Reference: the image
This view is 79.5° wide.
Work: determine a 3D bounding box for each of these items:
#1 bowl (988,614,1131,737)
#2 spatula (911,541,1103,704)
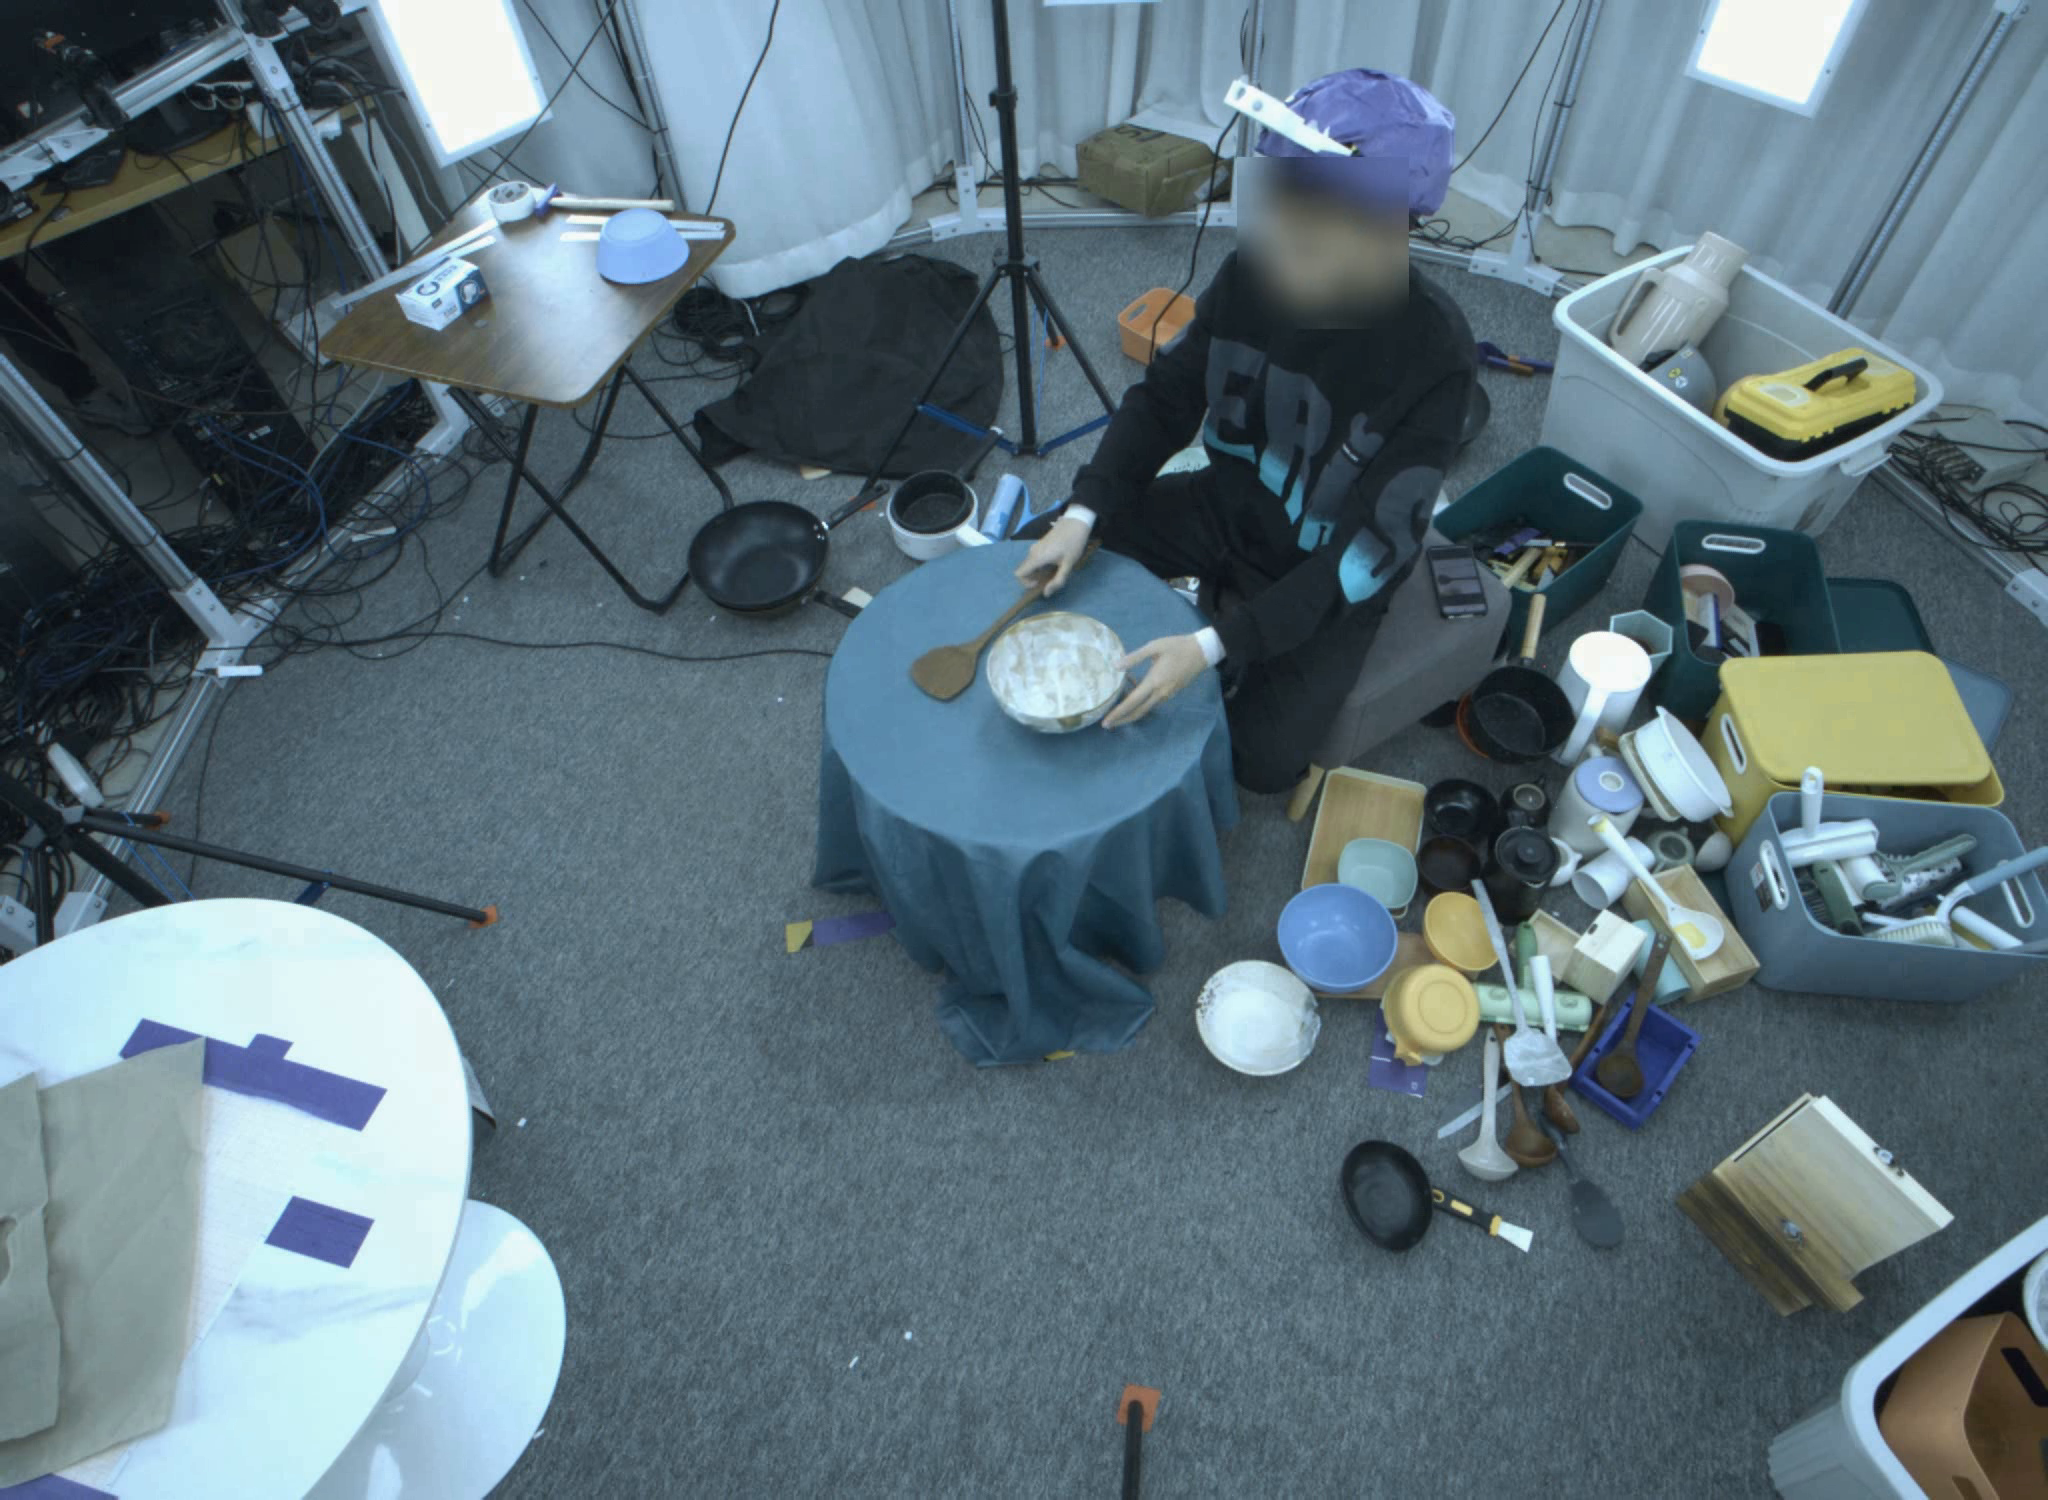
[{"bbox_3d":[0.055,-0.093,1.804,0.214,0.095,0.212,-1,53,2],"label":"bowl"},{"bbox_3d":[-0.015,-0.210,1.919,0.388,0.016,0.094,-43,64,-17],"label":"spatula"}]
